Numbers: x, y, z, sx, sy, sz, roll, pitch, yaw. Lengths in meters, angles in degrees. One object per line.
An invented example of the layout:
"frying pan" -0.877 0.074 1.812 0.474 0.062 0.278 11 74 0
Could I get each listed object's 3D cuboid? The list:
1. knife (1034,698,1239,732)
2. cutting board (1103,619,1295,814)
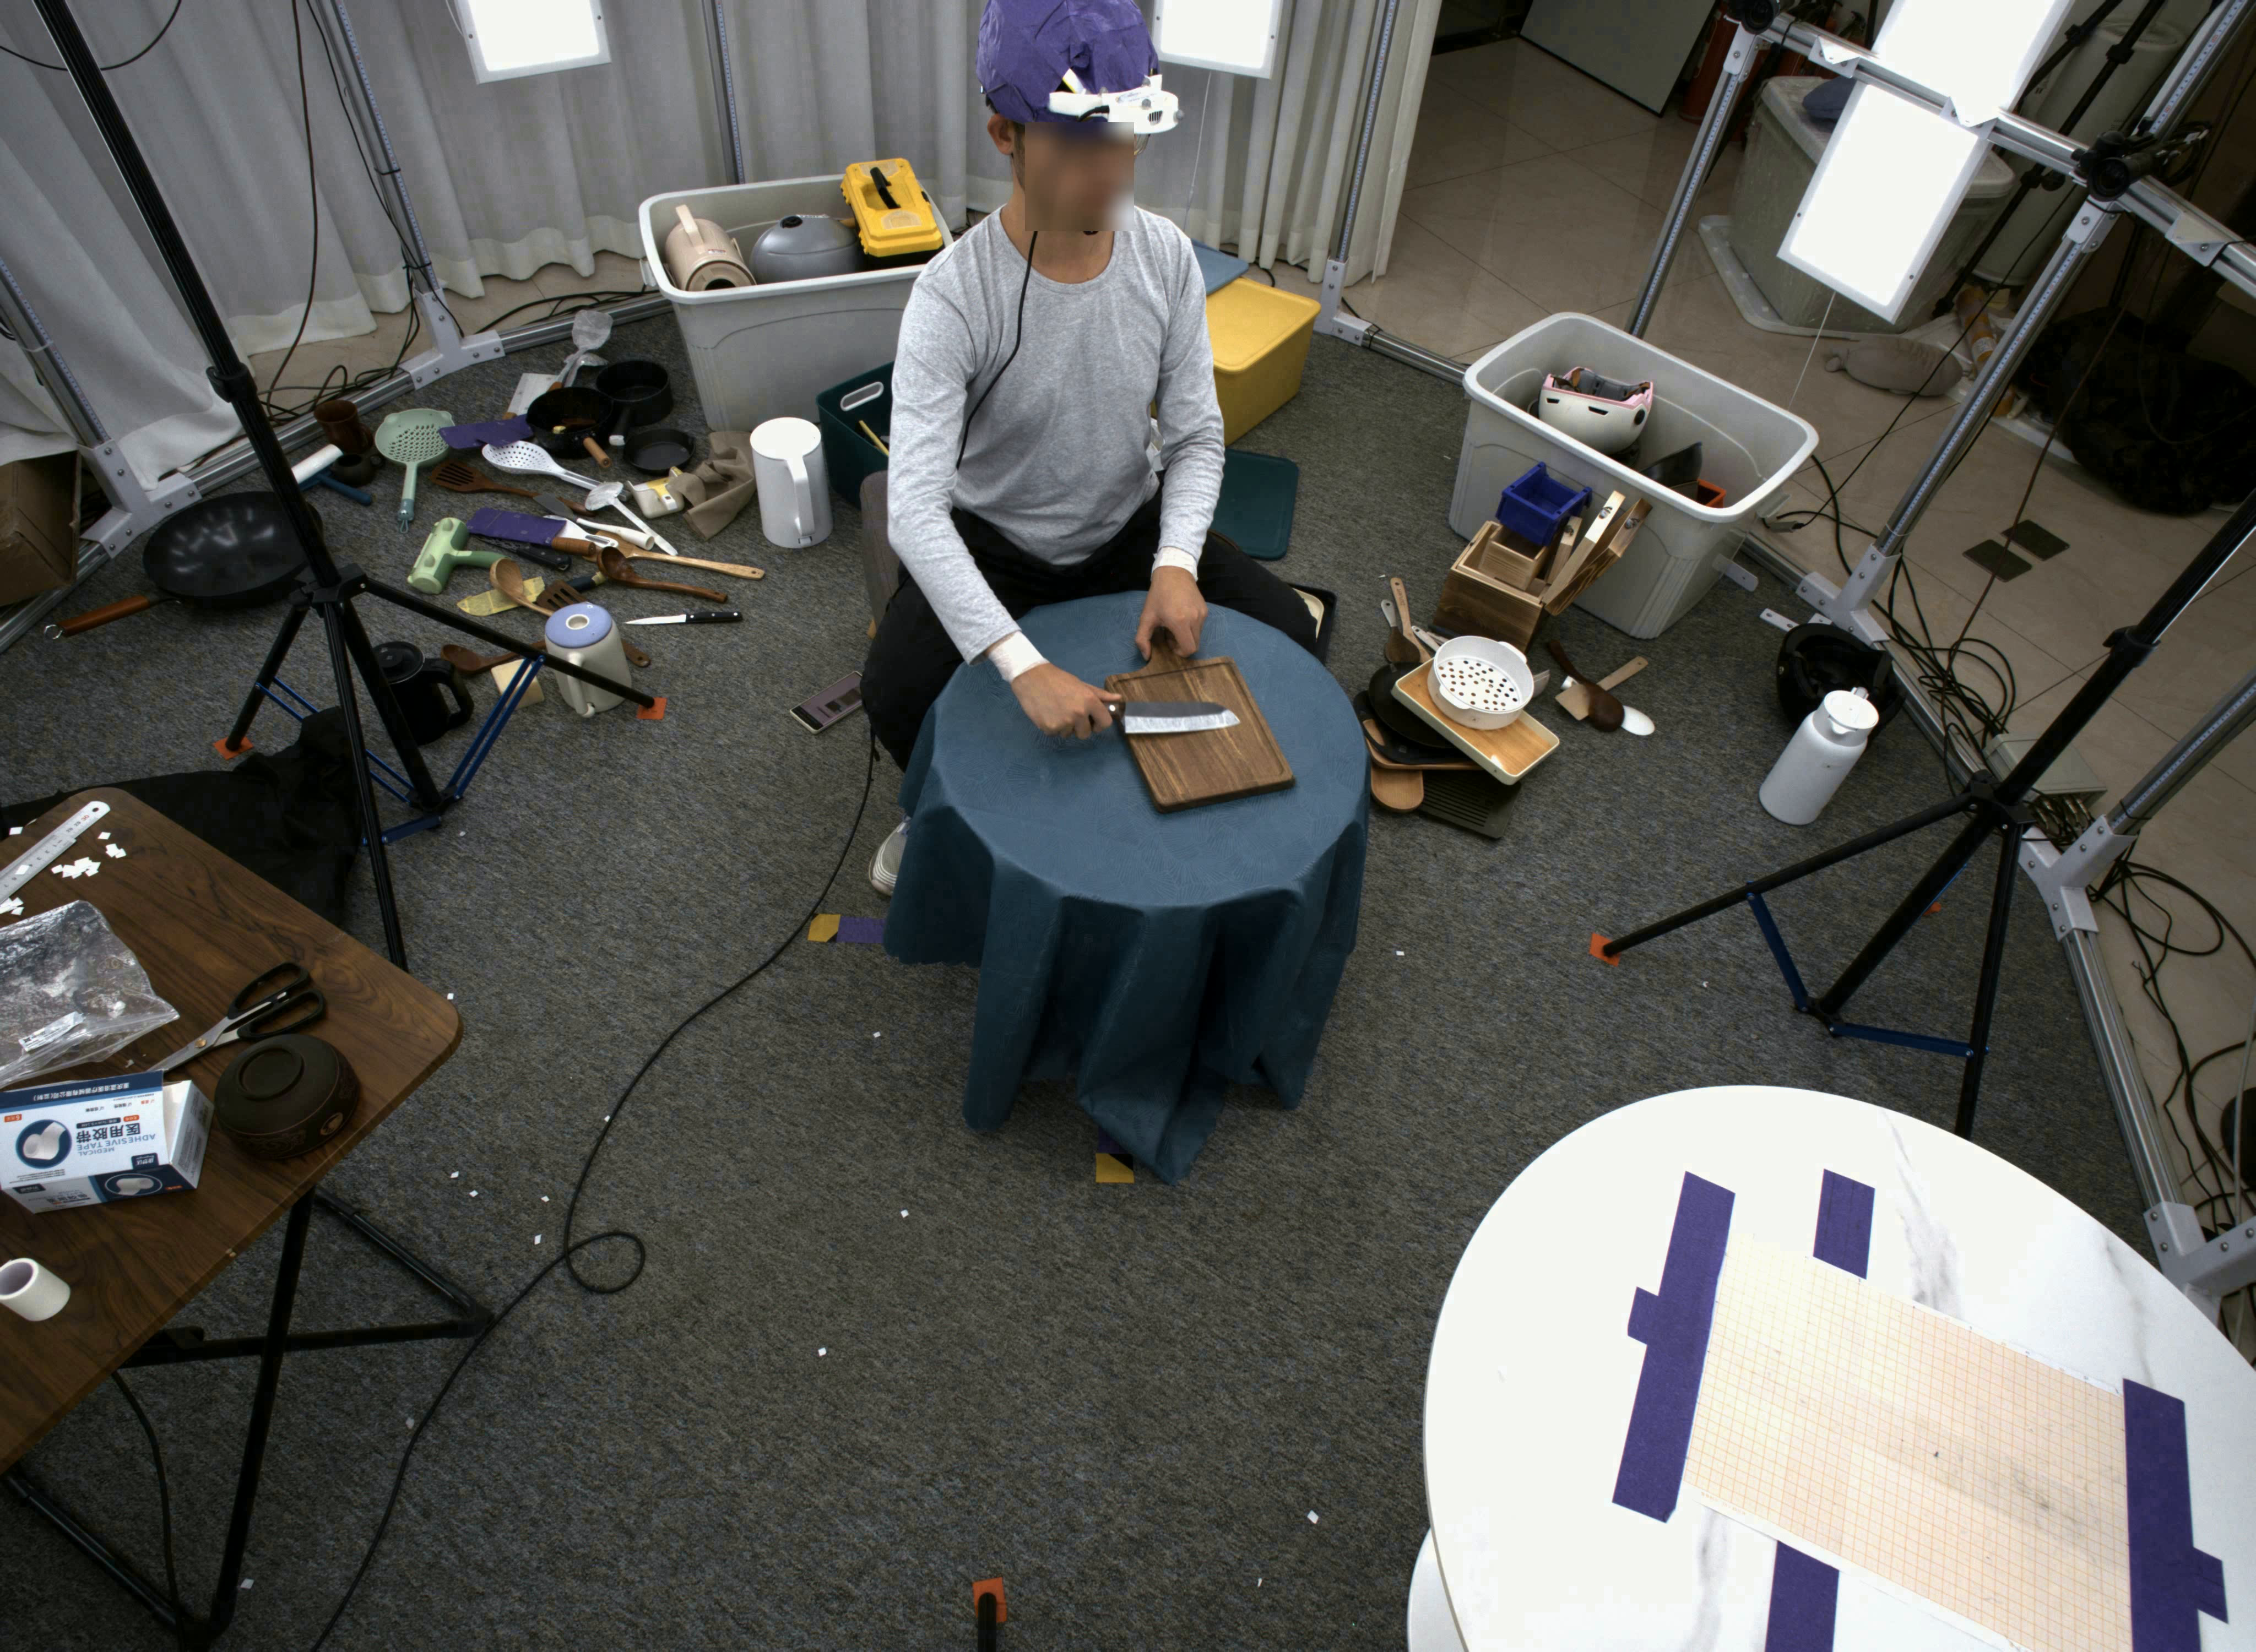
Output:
"knife" 0.015 -0.153 1.751 0.288 0.020 0.051 0 77 -14
"cutting board" 0.080 -0.170 1.805 0.201 0.022 0.361 -11 51 -14
